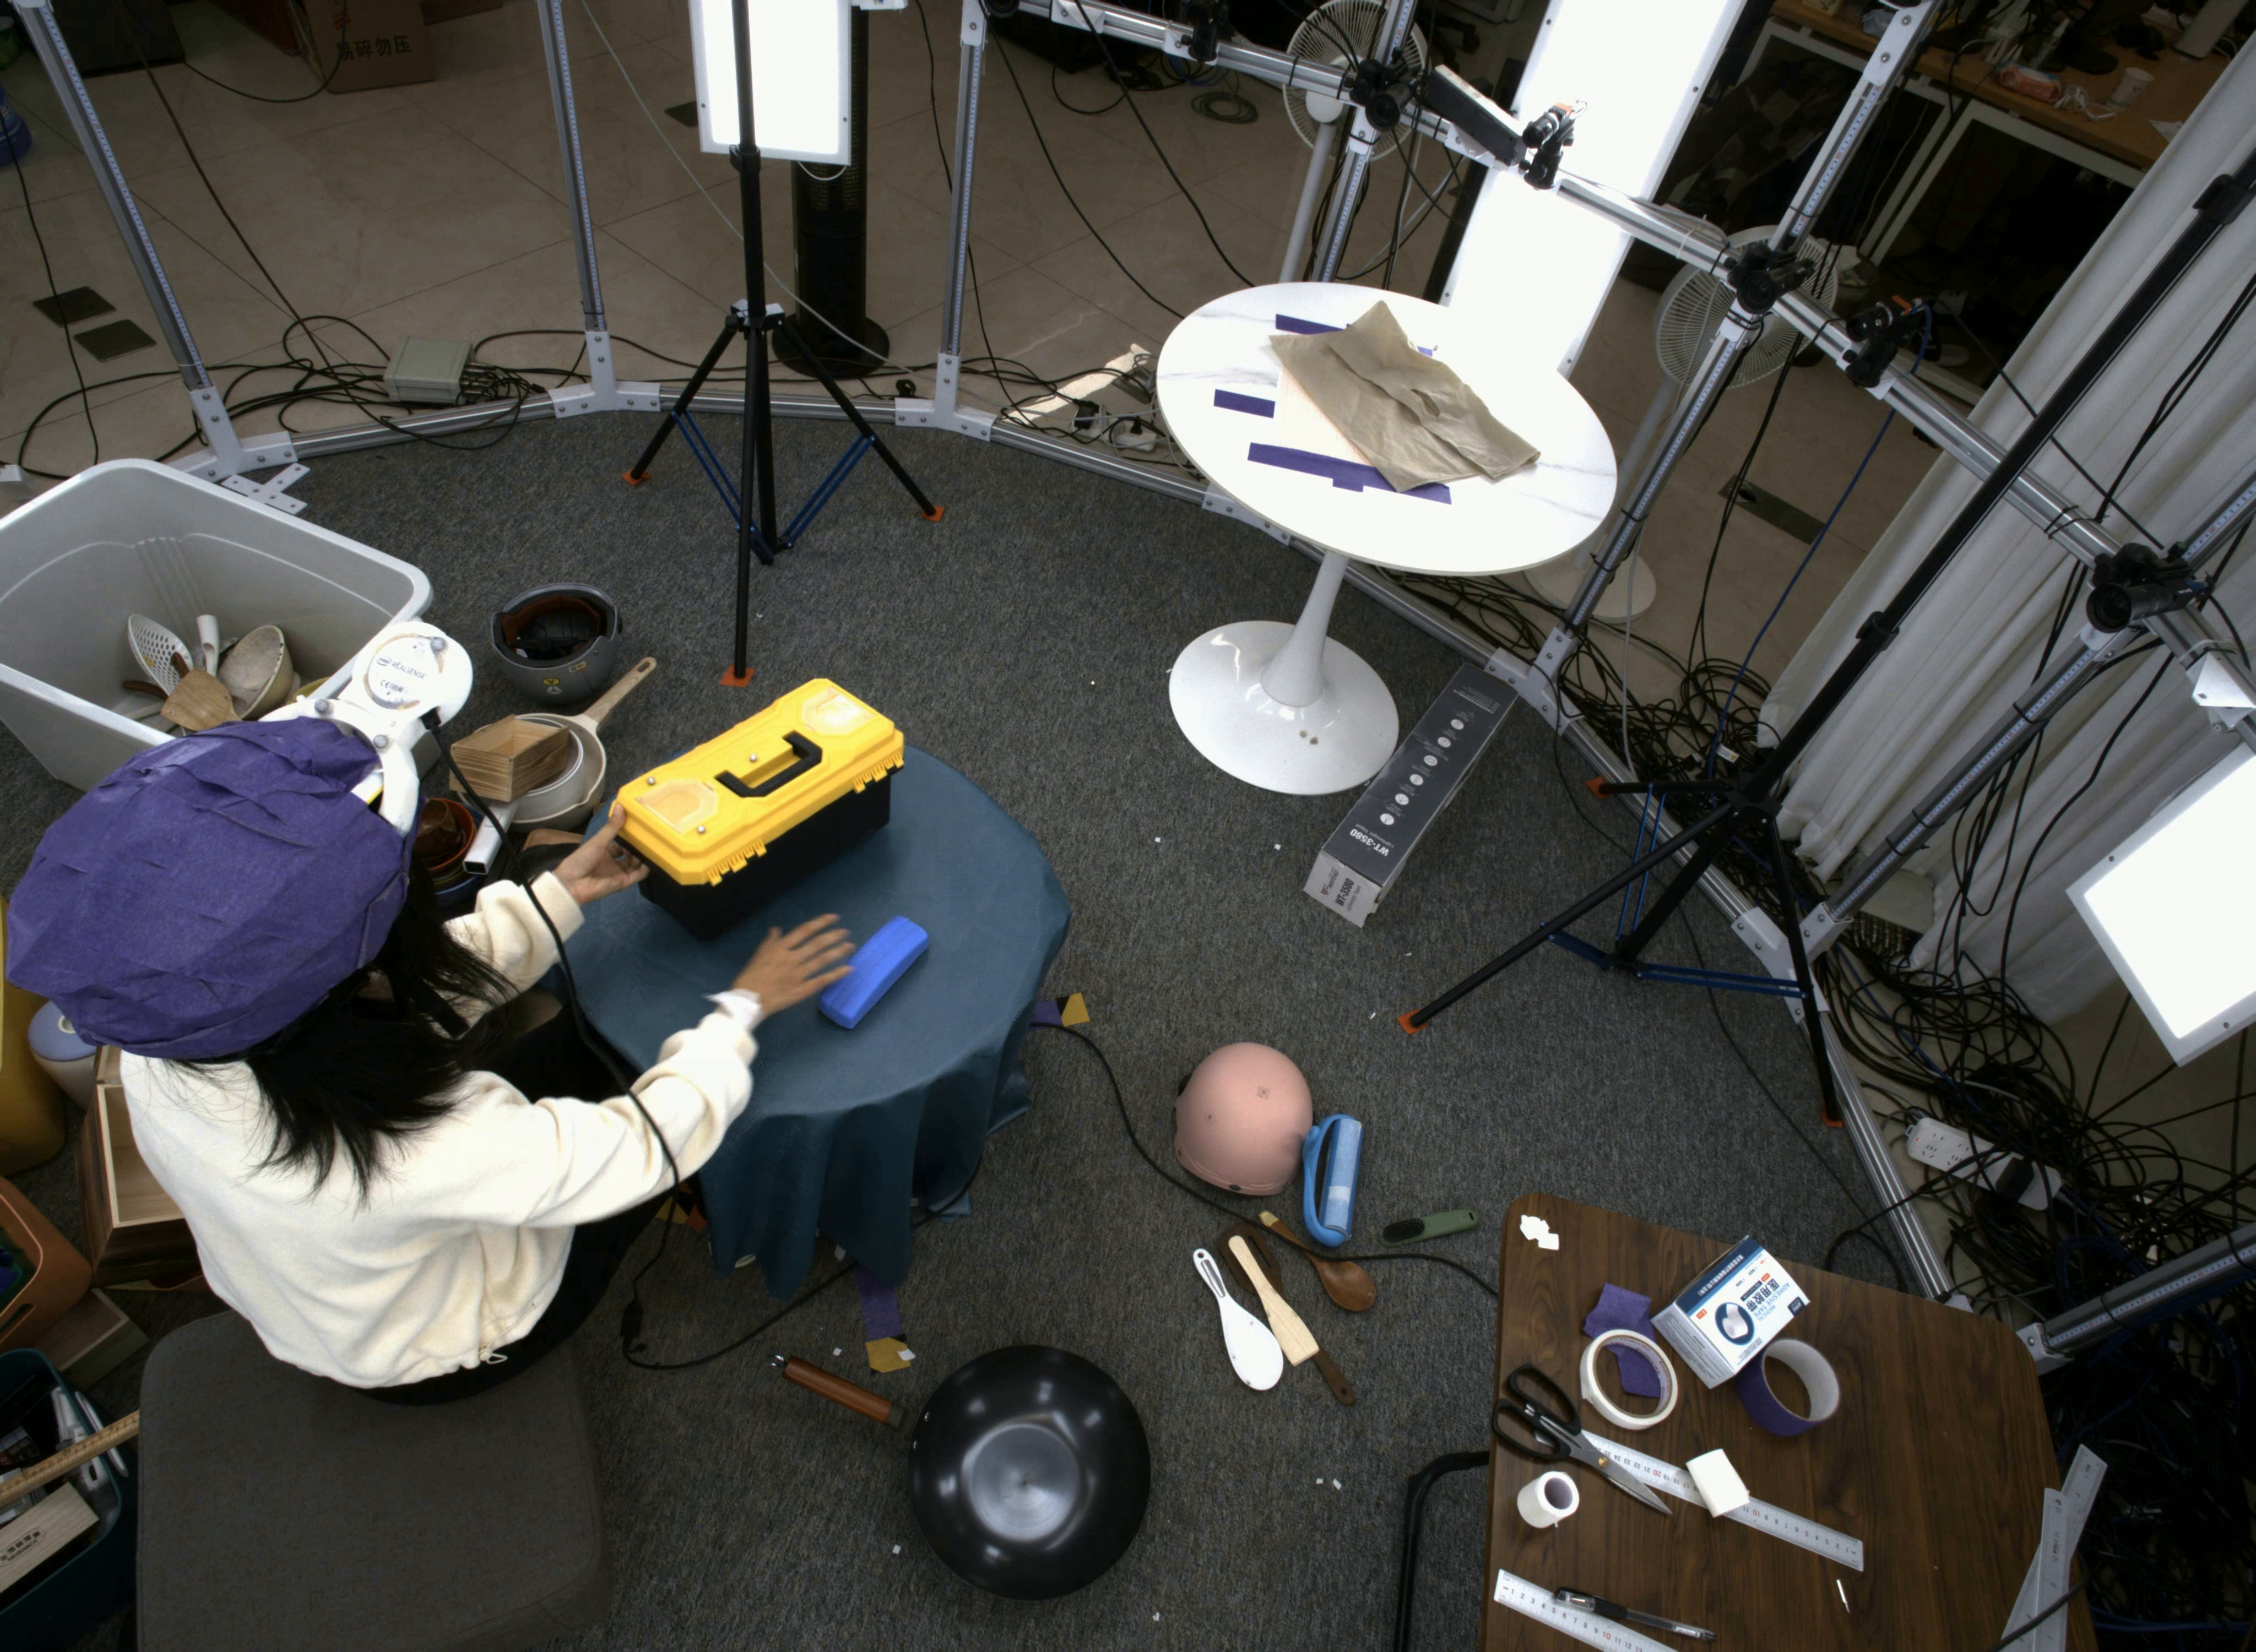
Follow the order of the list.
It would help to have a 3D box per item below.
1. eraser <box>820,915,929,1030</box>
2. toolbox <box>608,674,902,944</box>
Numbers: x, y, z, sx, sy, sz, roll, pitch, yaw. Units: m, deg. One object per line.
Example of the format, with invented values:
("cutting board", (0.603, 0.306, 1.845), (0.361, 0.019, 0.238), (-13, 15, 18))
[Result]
("eraser", (-0.309, 0.172, 1.589), (0.053, 0.048, 0.162), (31, 51, 12))
("toolbox", (-0.451, -0.027, 1.595), (0.176, 0.177, 0.352), (32, 47, 22))
